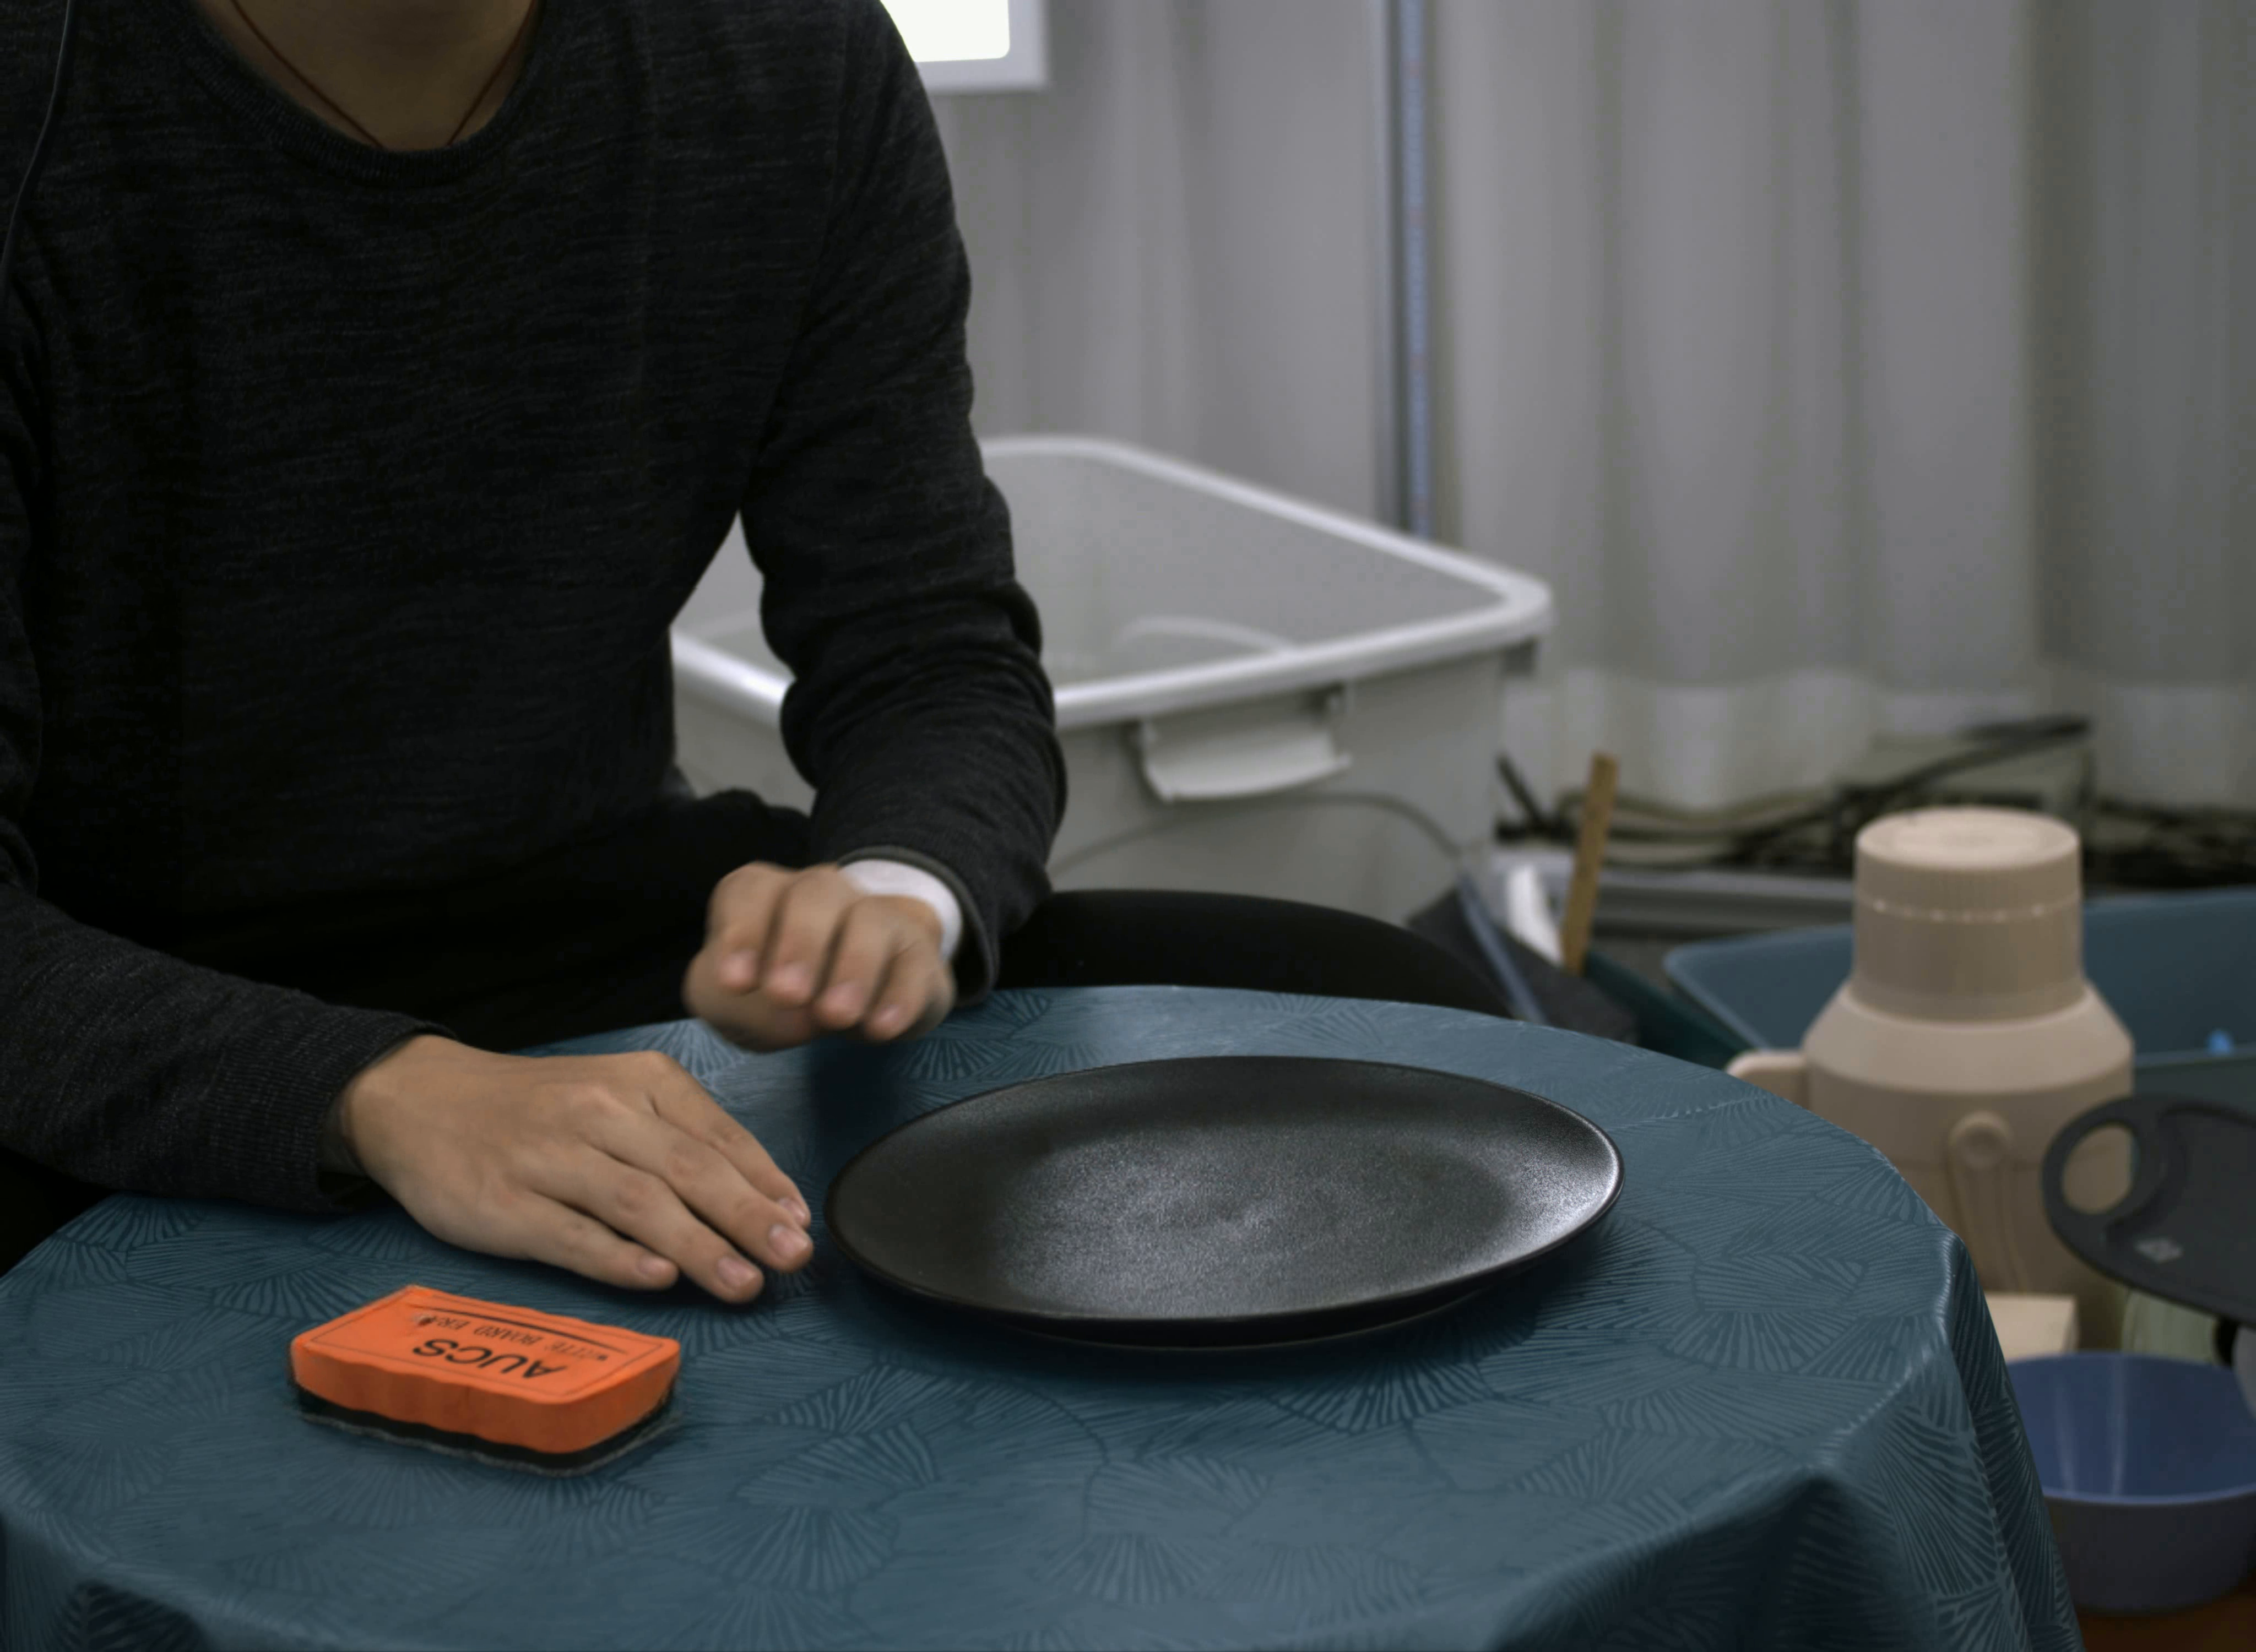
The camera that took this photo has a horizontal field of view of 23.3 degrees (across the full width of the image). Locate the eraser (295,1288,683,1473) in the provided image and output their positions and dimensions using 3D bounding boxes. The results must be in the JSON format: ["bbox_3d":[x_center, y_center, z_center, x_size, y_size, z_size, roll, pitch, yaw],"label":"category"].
[{"bbox_3d":[-0.181,0.156,1.546,0.108,0.023,0.059,8,16,36],"label":"eraser"}]

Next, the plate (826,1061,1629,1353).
[{"bbox_3d":[0.030,0.117,1.655,0.243,0.023,0.246,-3,15,1],"label":"plate"}]
